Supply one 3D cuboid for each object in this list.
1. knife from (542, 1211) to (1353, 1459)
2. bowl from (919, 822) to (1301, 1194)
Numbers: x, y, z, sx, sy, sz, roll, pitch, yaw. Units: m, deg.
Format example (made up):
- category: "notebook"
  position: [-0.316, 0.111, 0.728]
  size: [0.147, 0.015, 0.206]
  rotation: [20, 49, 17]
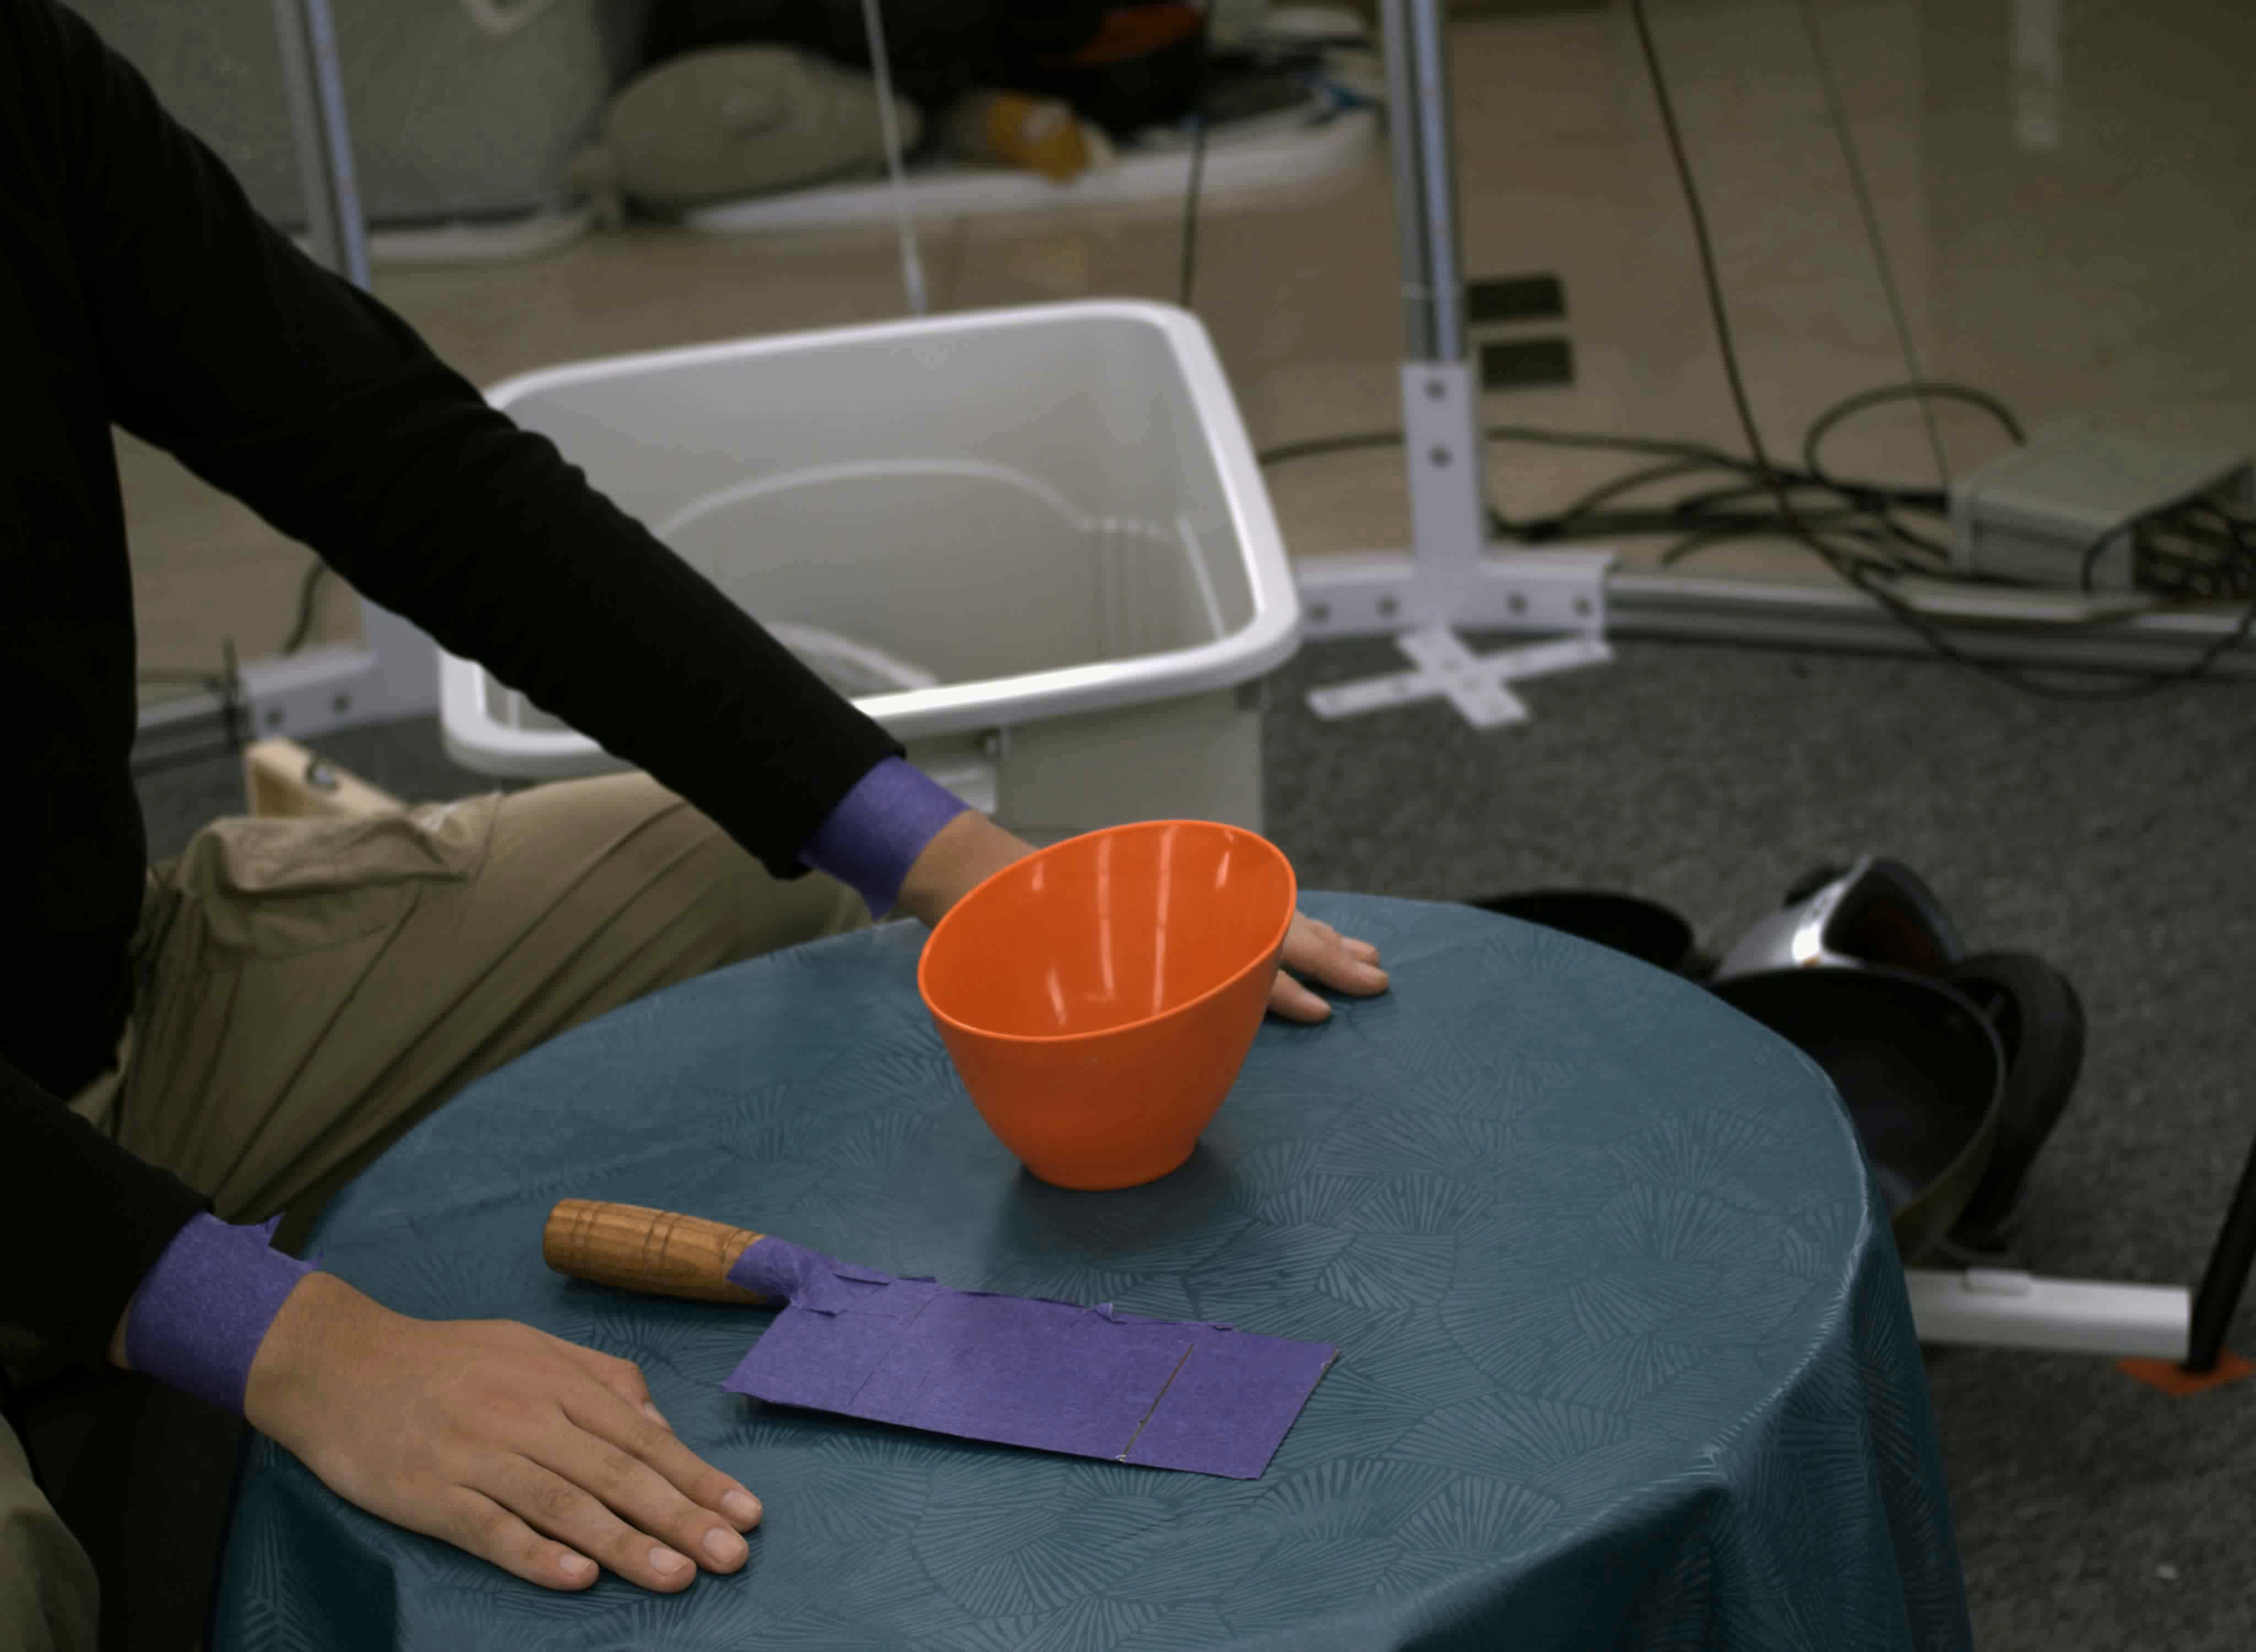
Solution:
- category: "knife"
  position: [-0.081, 0.183, 2.044]
  size: [0.314, 0.033, 0.102]
  rotation: [5, 27, 21]
- category: "bowl"
  position: [-0.003, 0.076, 2.164]
  size: [0.148, 0.106, 0.146]
  rotation: [-5, 28, 2]
